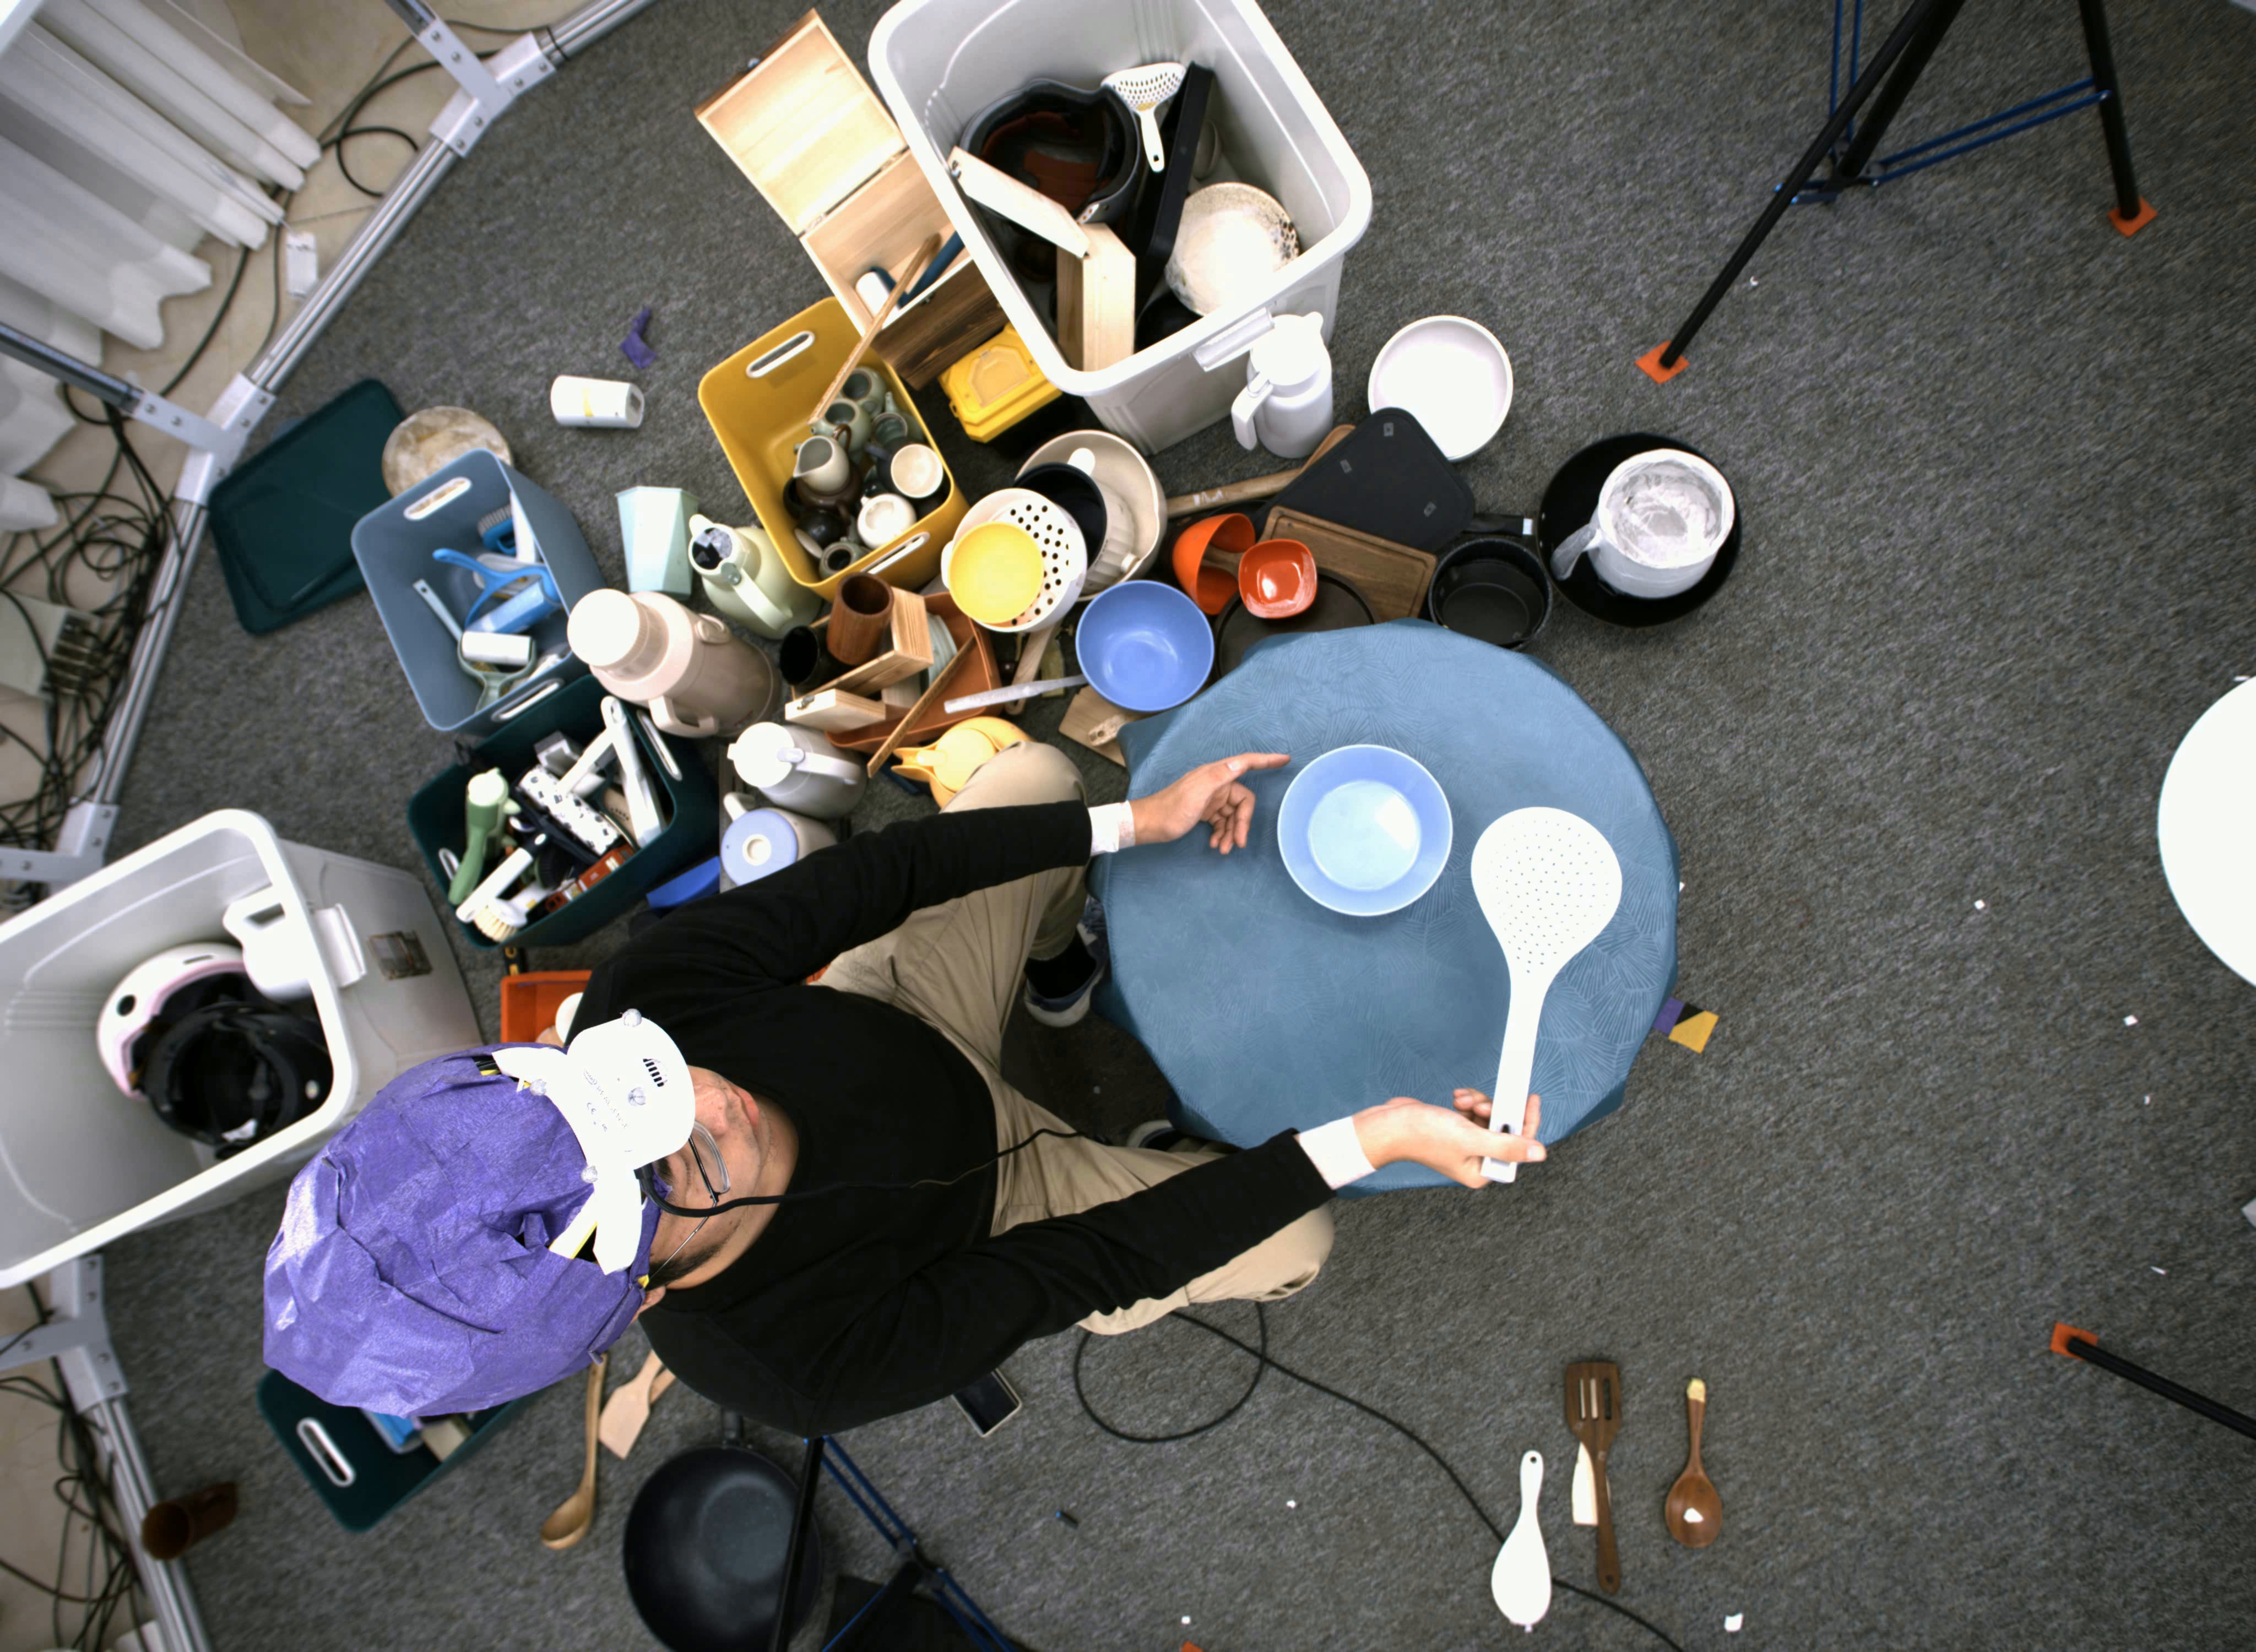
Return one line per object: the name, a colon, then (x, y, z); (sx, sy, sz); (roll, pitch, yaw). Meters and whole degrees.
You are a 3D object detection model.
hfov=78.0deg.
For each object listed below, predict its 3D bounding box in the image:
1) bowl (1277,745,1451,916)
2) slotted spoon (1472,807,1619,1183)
bowl: (0.245, 0.006, 1.432); (0.177, 0.070, 0.175); (-1, 86, 11)
slotted spoon: (0.359, 0.143, 1.232); (0.136, 0.046, 0.342); (12, 66, 6)
